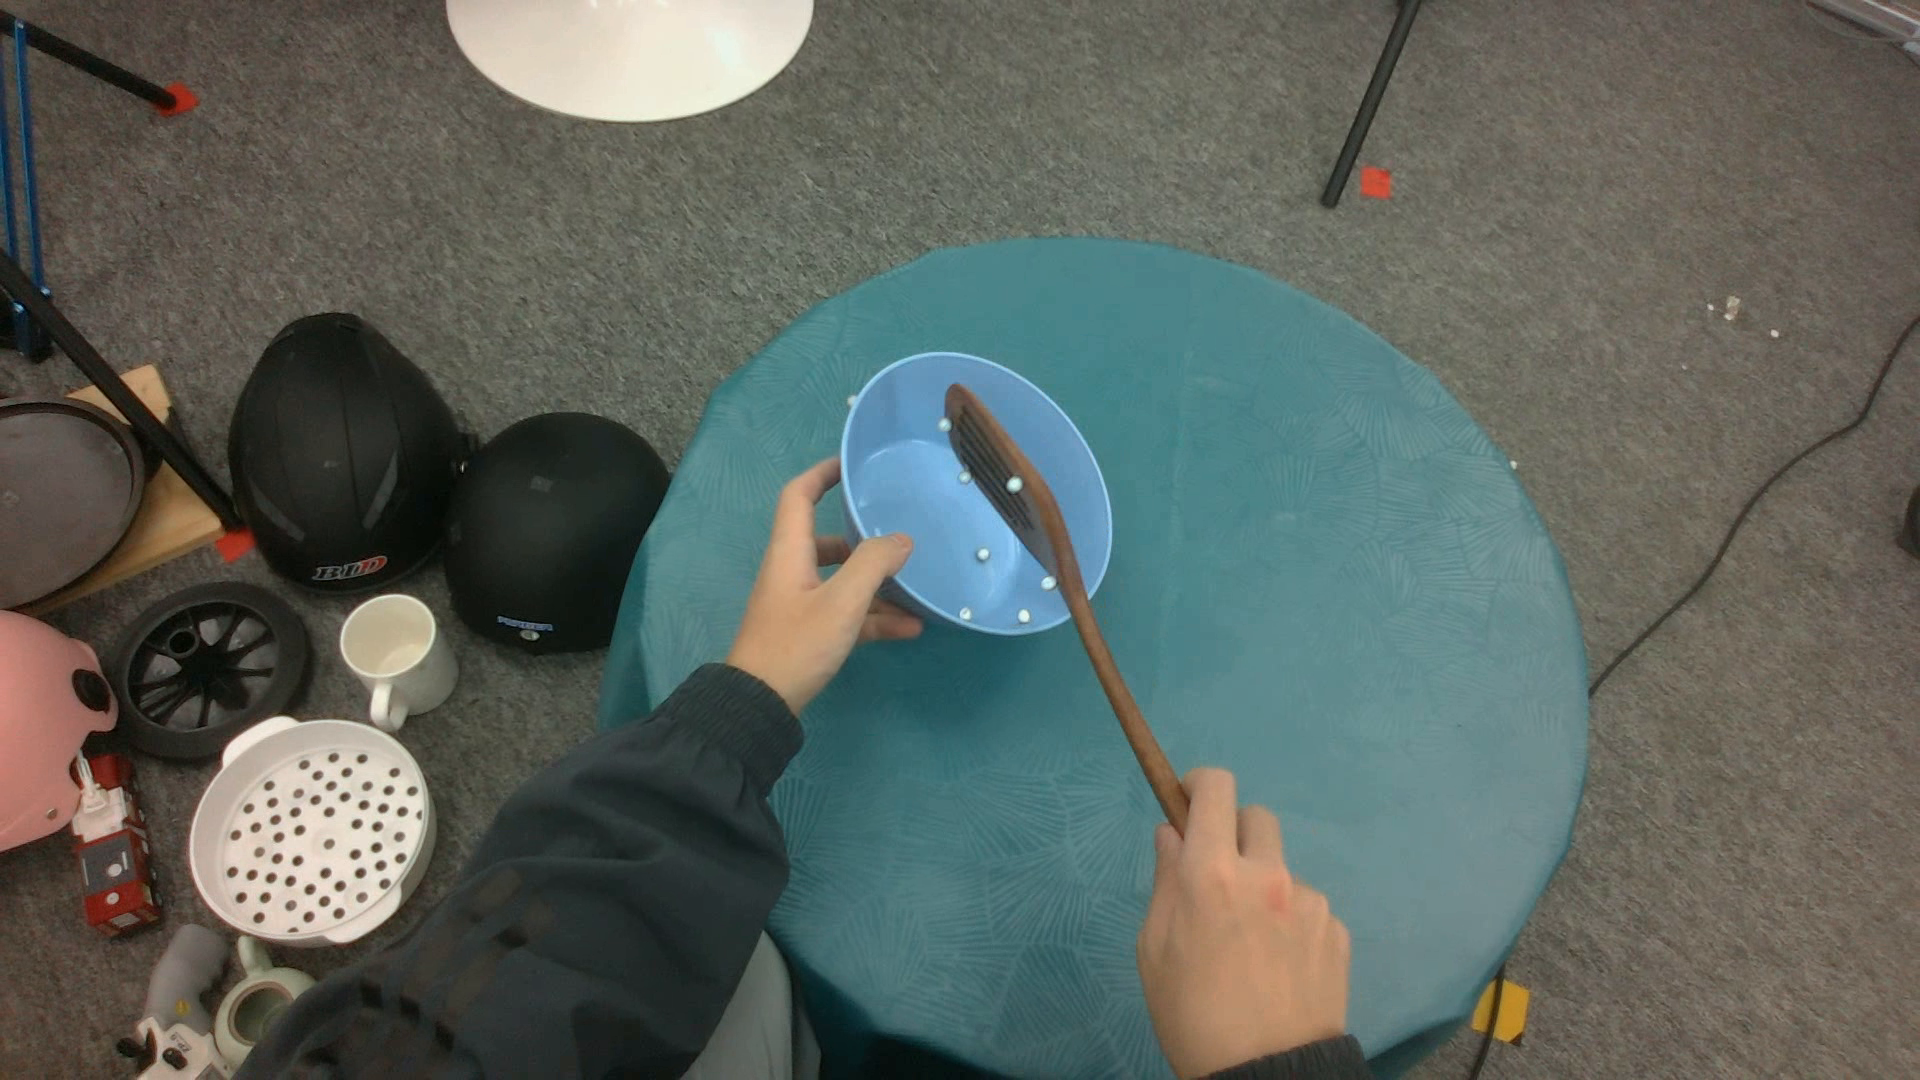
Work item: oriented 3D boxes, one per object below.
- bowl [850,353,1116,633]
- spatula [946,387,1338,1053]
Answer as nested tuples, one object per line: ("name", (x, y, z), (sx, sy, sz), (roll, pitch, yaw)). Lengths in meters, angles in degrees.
("bowl", (0.003, -0.018, 0.815), (0.176, 0.070, 0.176), (14, 61, -25))
("spatula", (0.087, 0.079, 0.710), (0.024, 0.085, 0.387), (-24, 67, -10))
